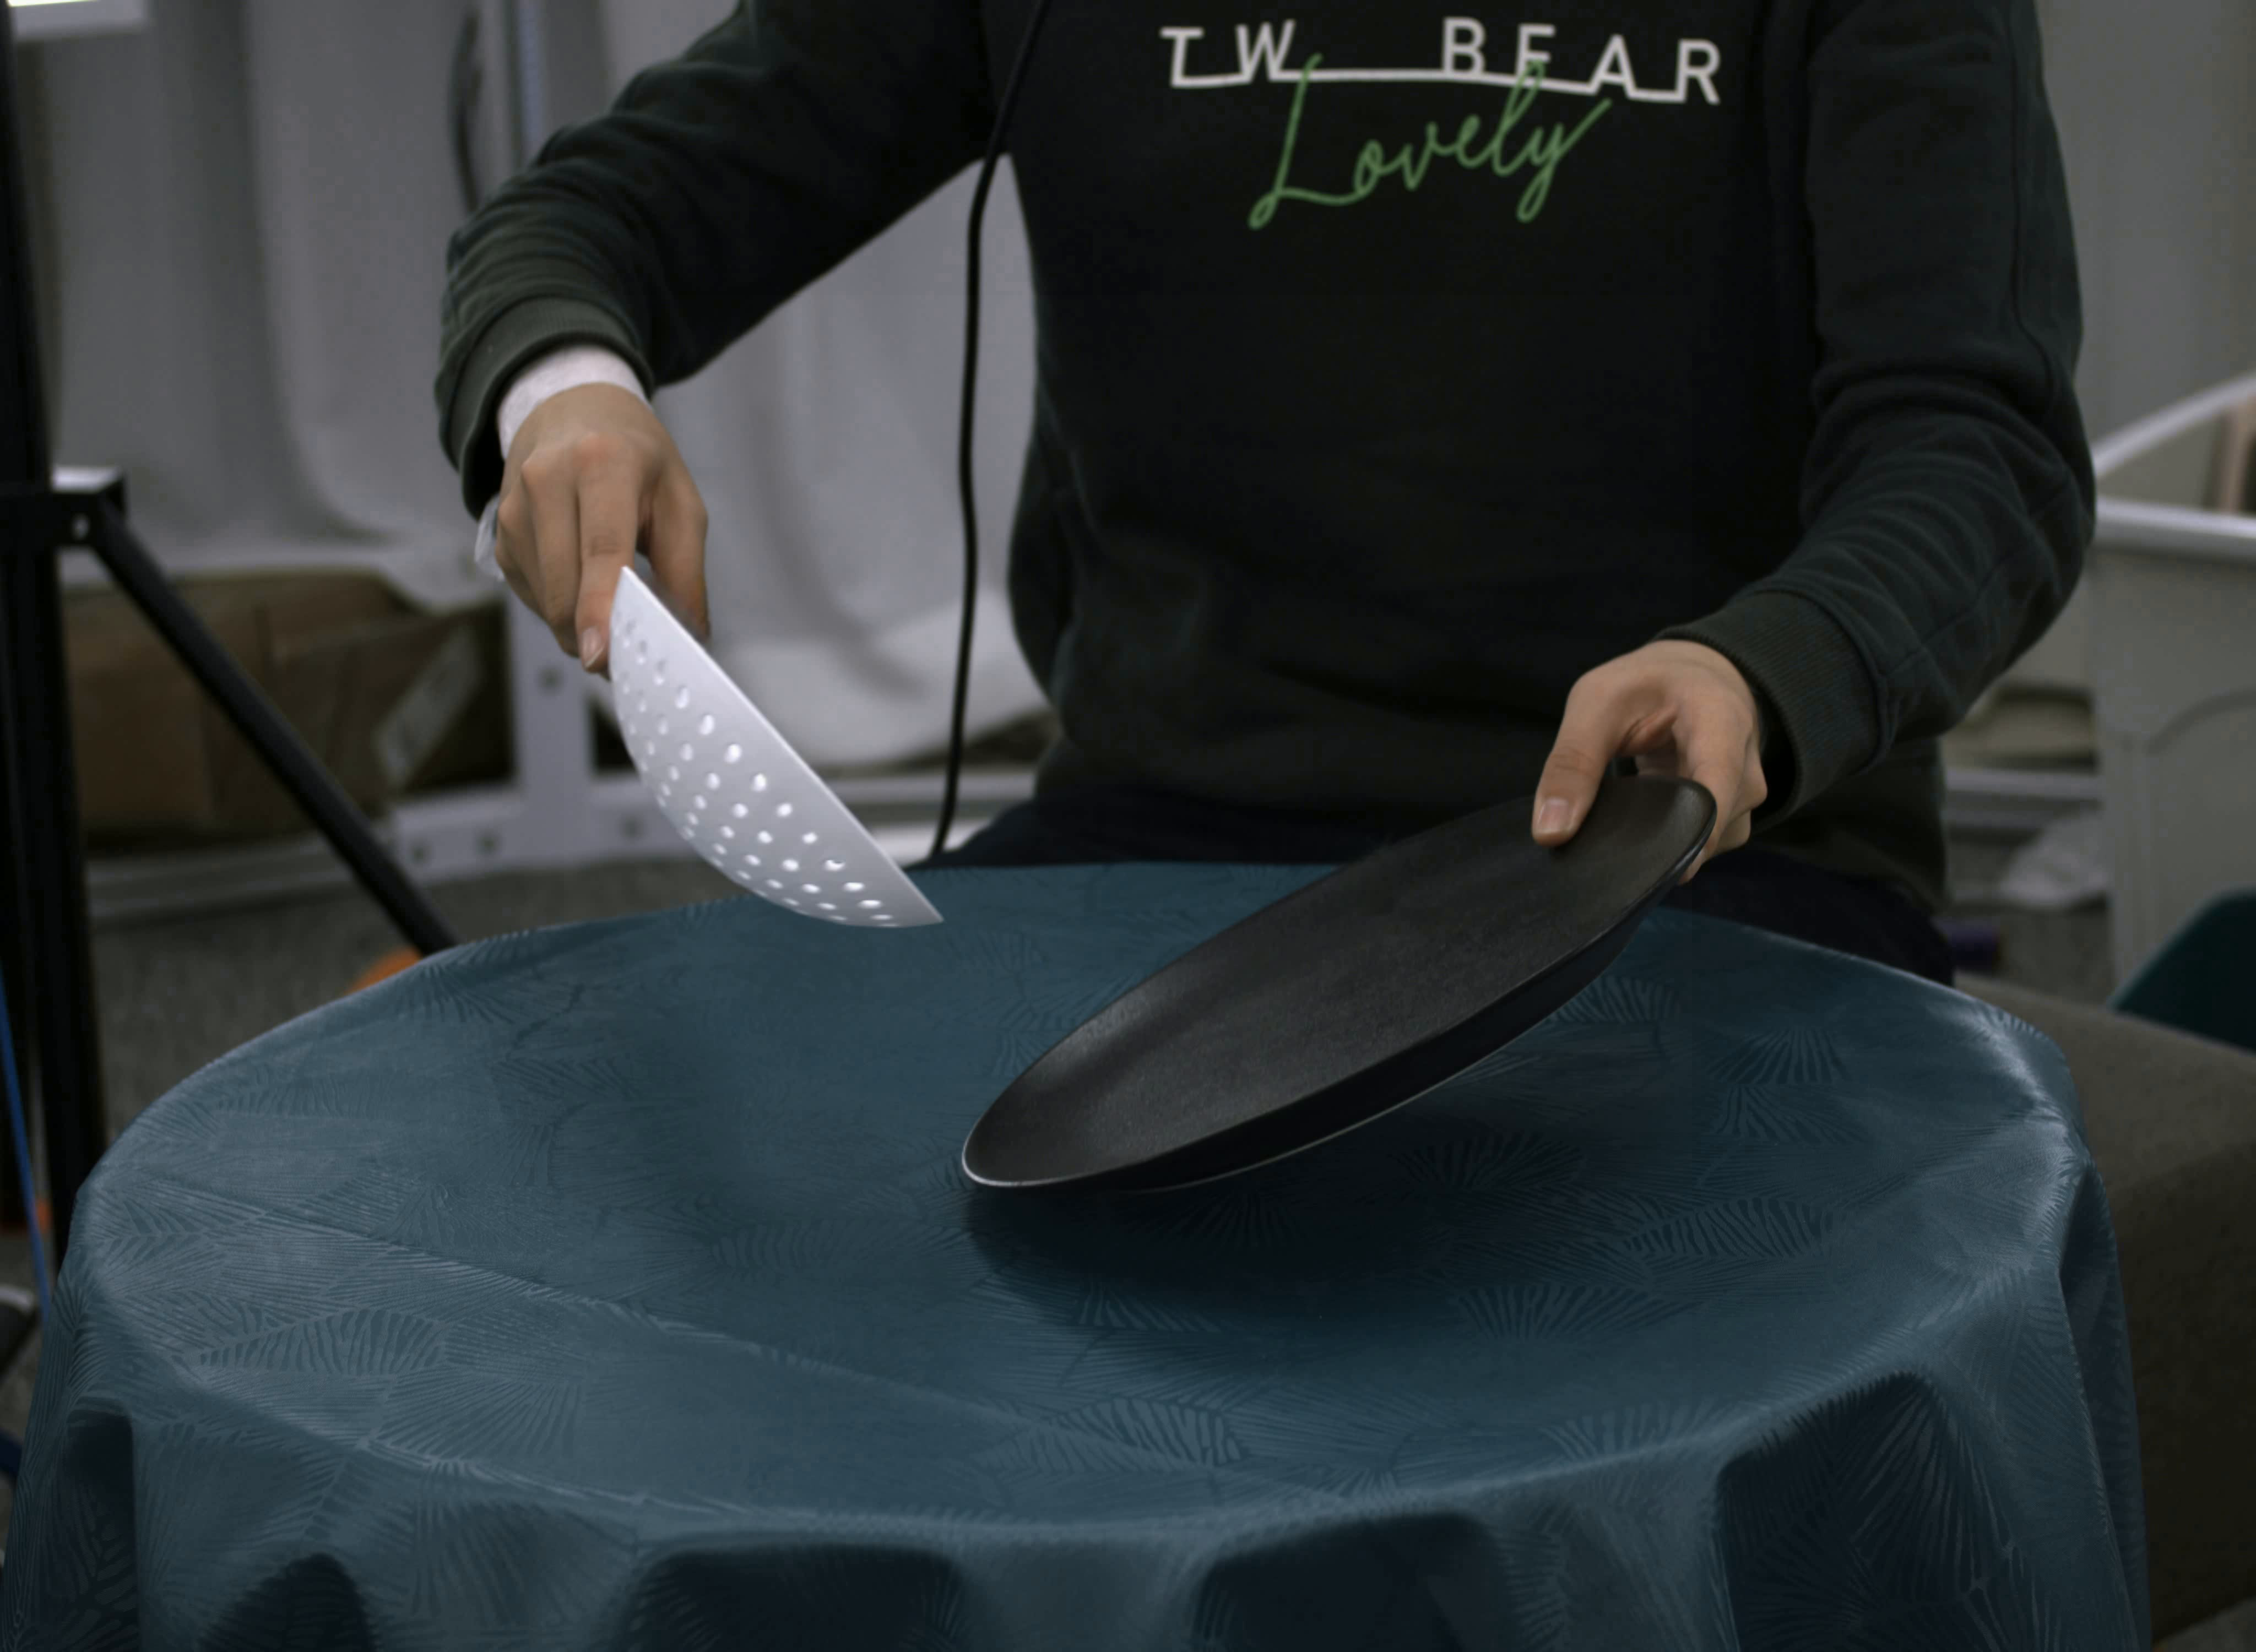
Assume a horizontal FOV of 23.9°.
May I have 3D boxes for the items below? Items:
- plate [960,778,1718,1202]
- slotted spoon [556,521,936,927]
[{"bbox_3d":[0.064,0.053,1.541,0.244,0.023,0.245,-27,11,3],"label":"plate"},{"bbox_3d":[-0.134,-0.047,1.624,0.046,0.134,0.354,-38,21,1],"label":"slotted spoon"}]
